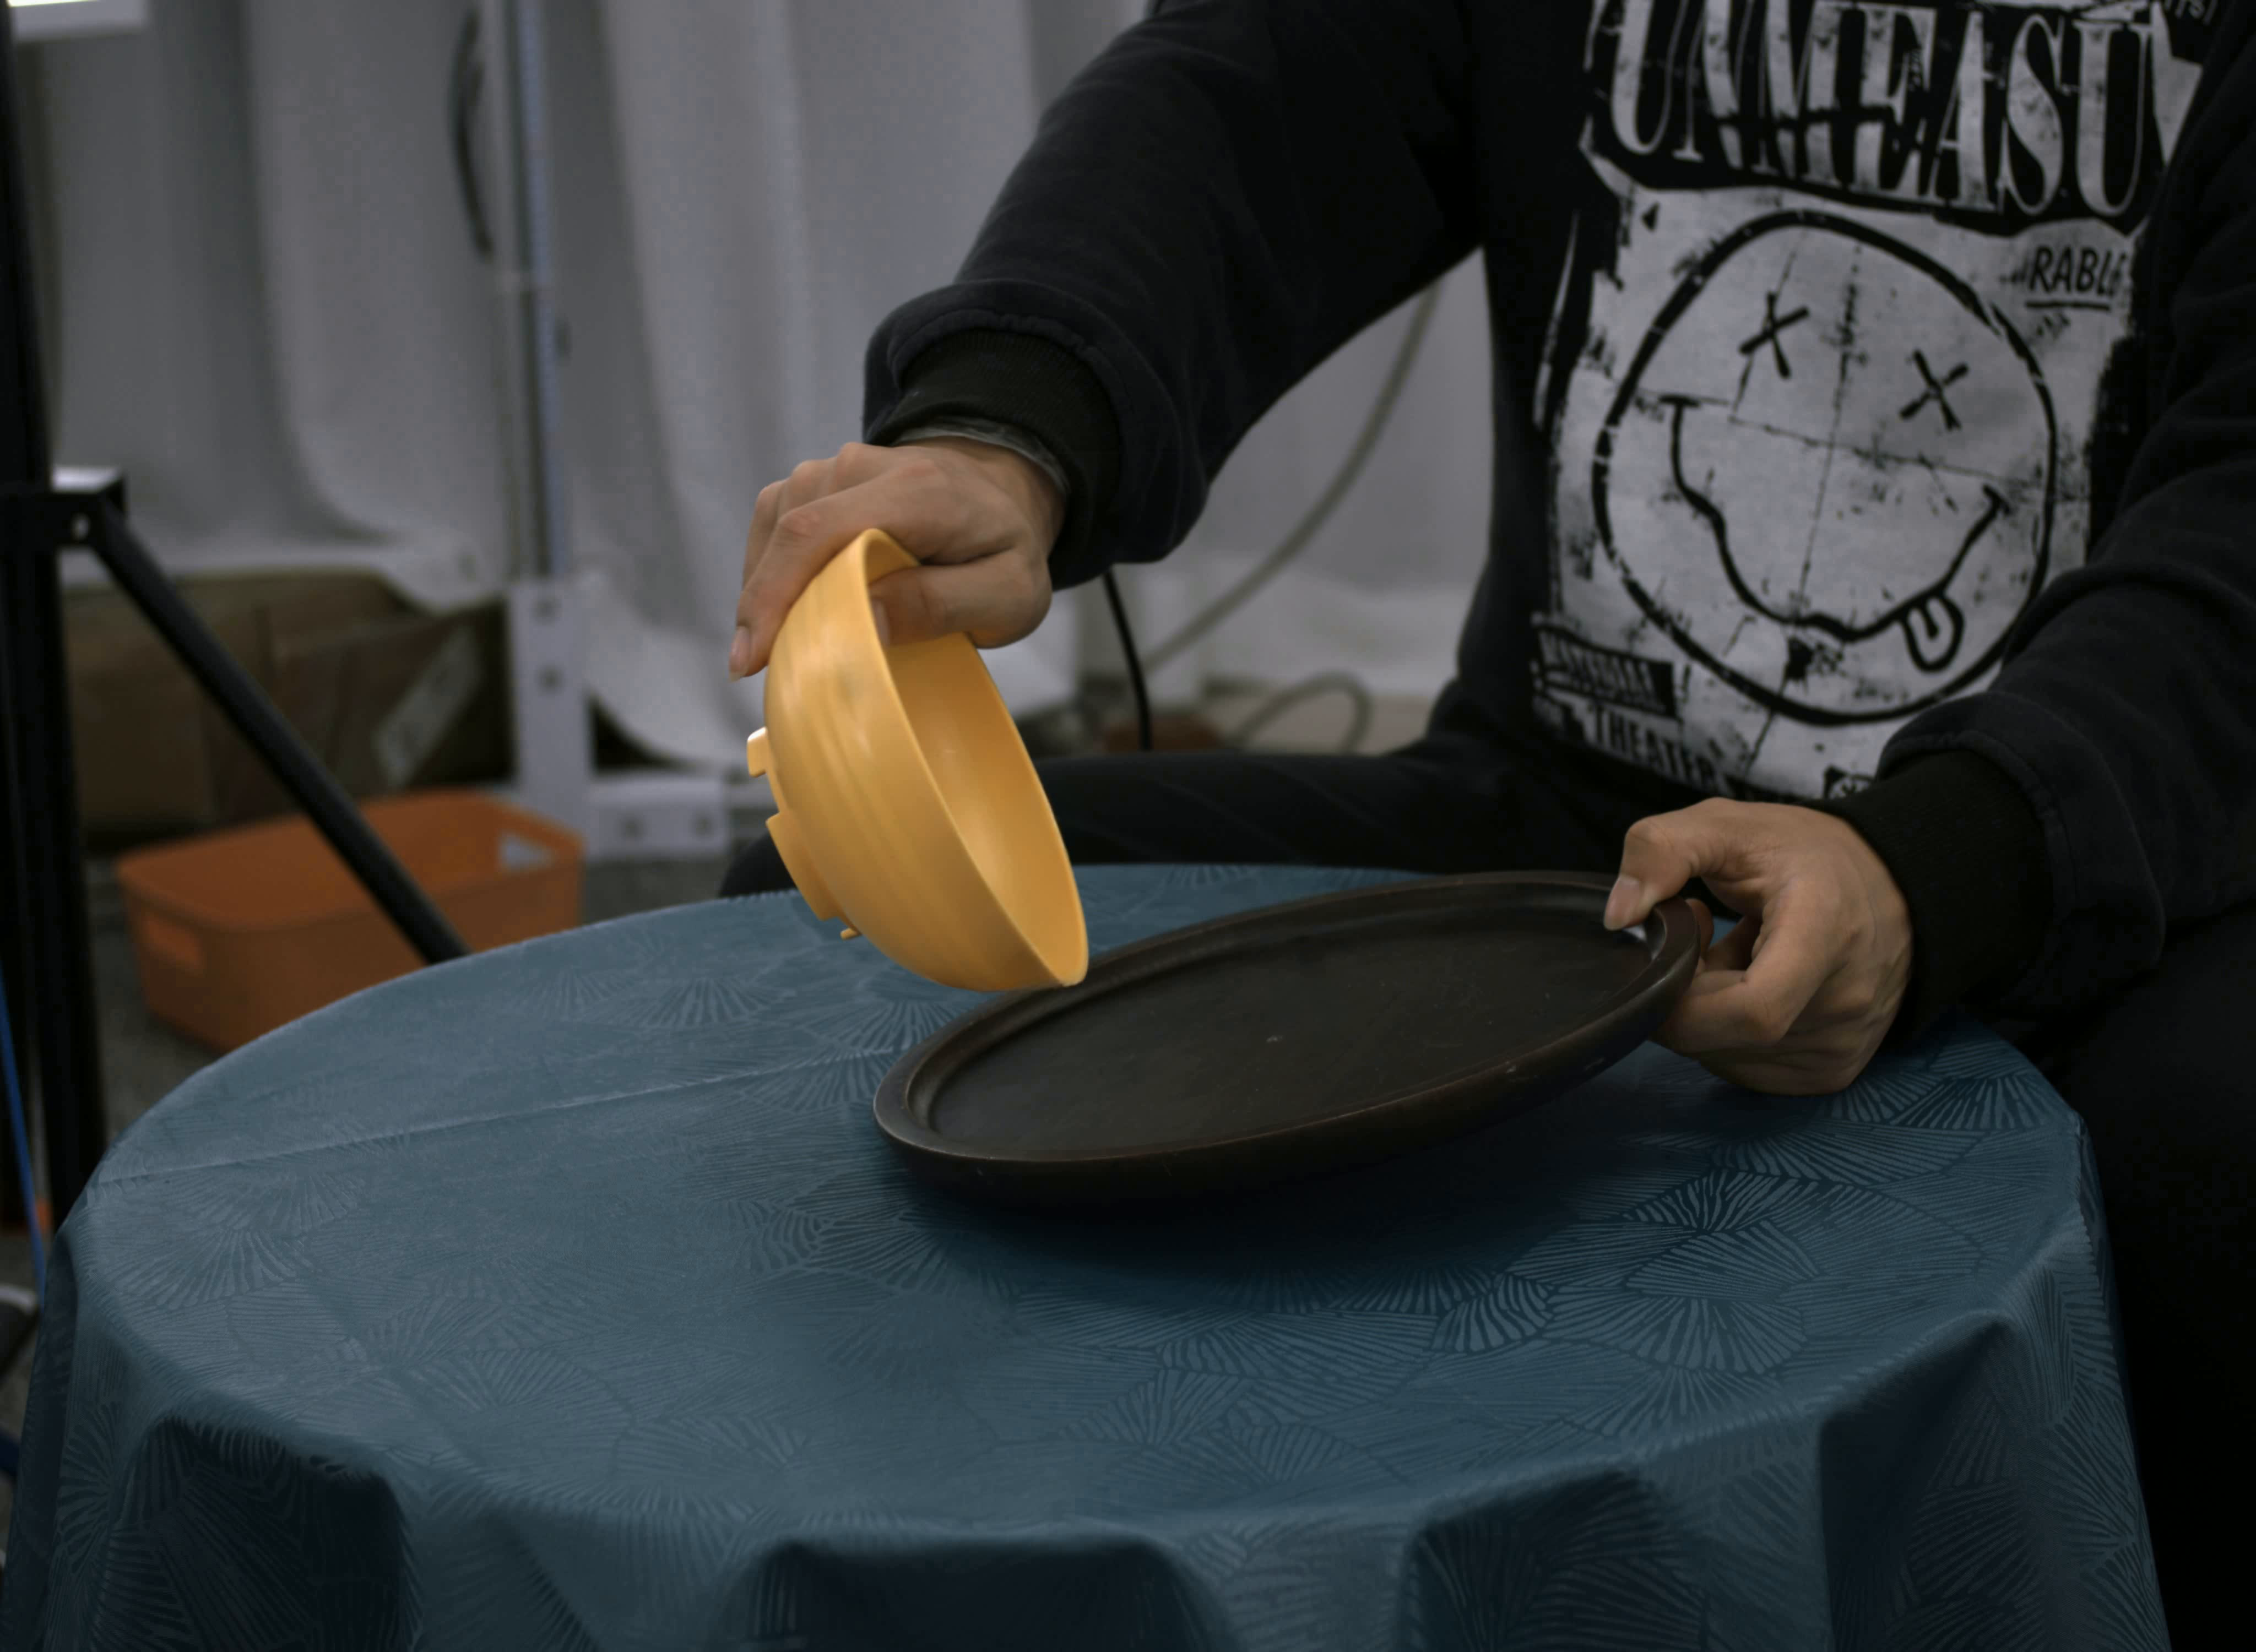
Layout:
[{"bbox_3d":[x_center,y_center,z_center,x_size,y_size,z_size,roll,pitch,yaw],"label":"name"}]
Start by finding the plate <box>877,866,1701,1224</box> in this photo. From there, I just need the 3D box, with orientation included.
[{"bbox_3d":[0.049,0.064,1.586,0.254,0.029,0.256,-15,12,2],"label":"plate"}]

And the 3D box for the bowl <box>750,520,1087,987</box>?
[{"bbox_3d":[-0.068,-0.011,1.540,0.060,0.145,0.145,-25,12,11],"label":"bowl"}]
